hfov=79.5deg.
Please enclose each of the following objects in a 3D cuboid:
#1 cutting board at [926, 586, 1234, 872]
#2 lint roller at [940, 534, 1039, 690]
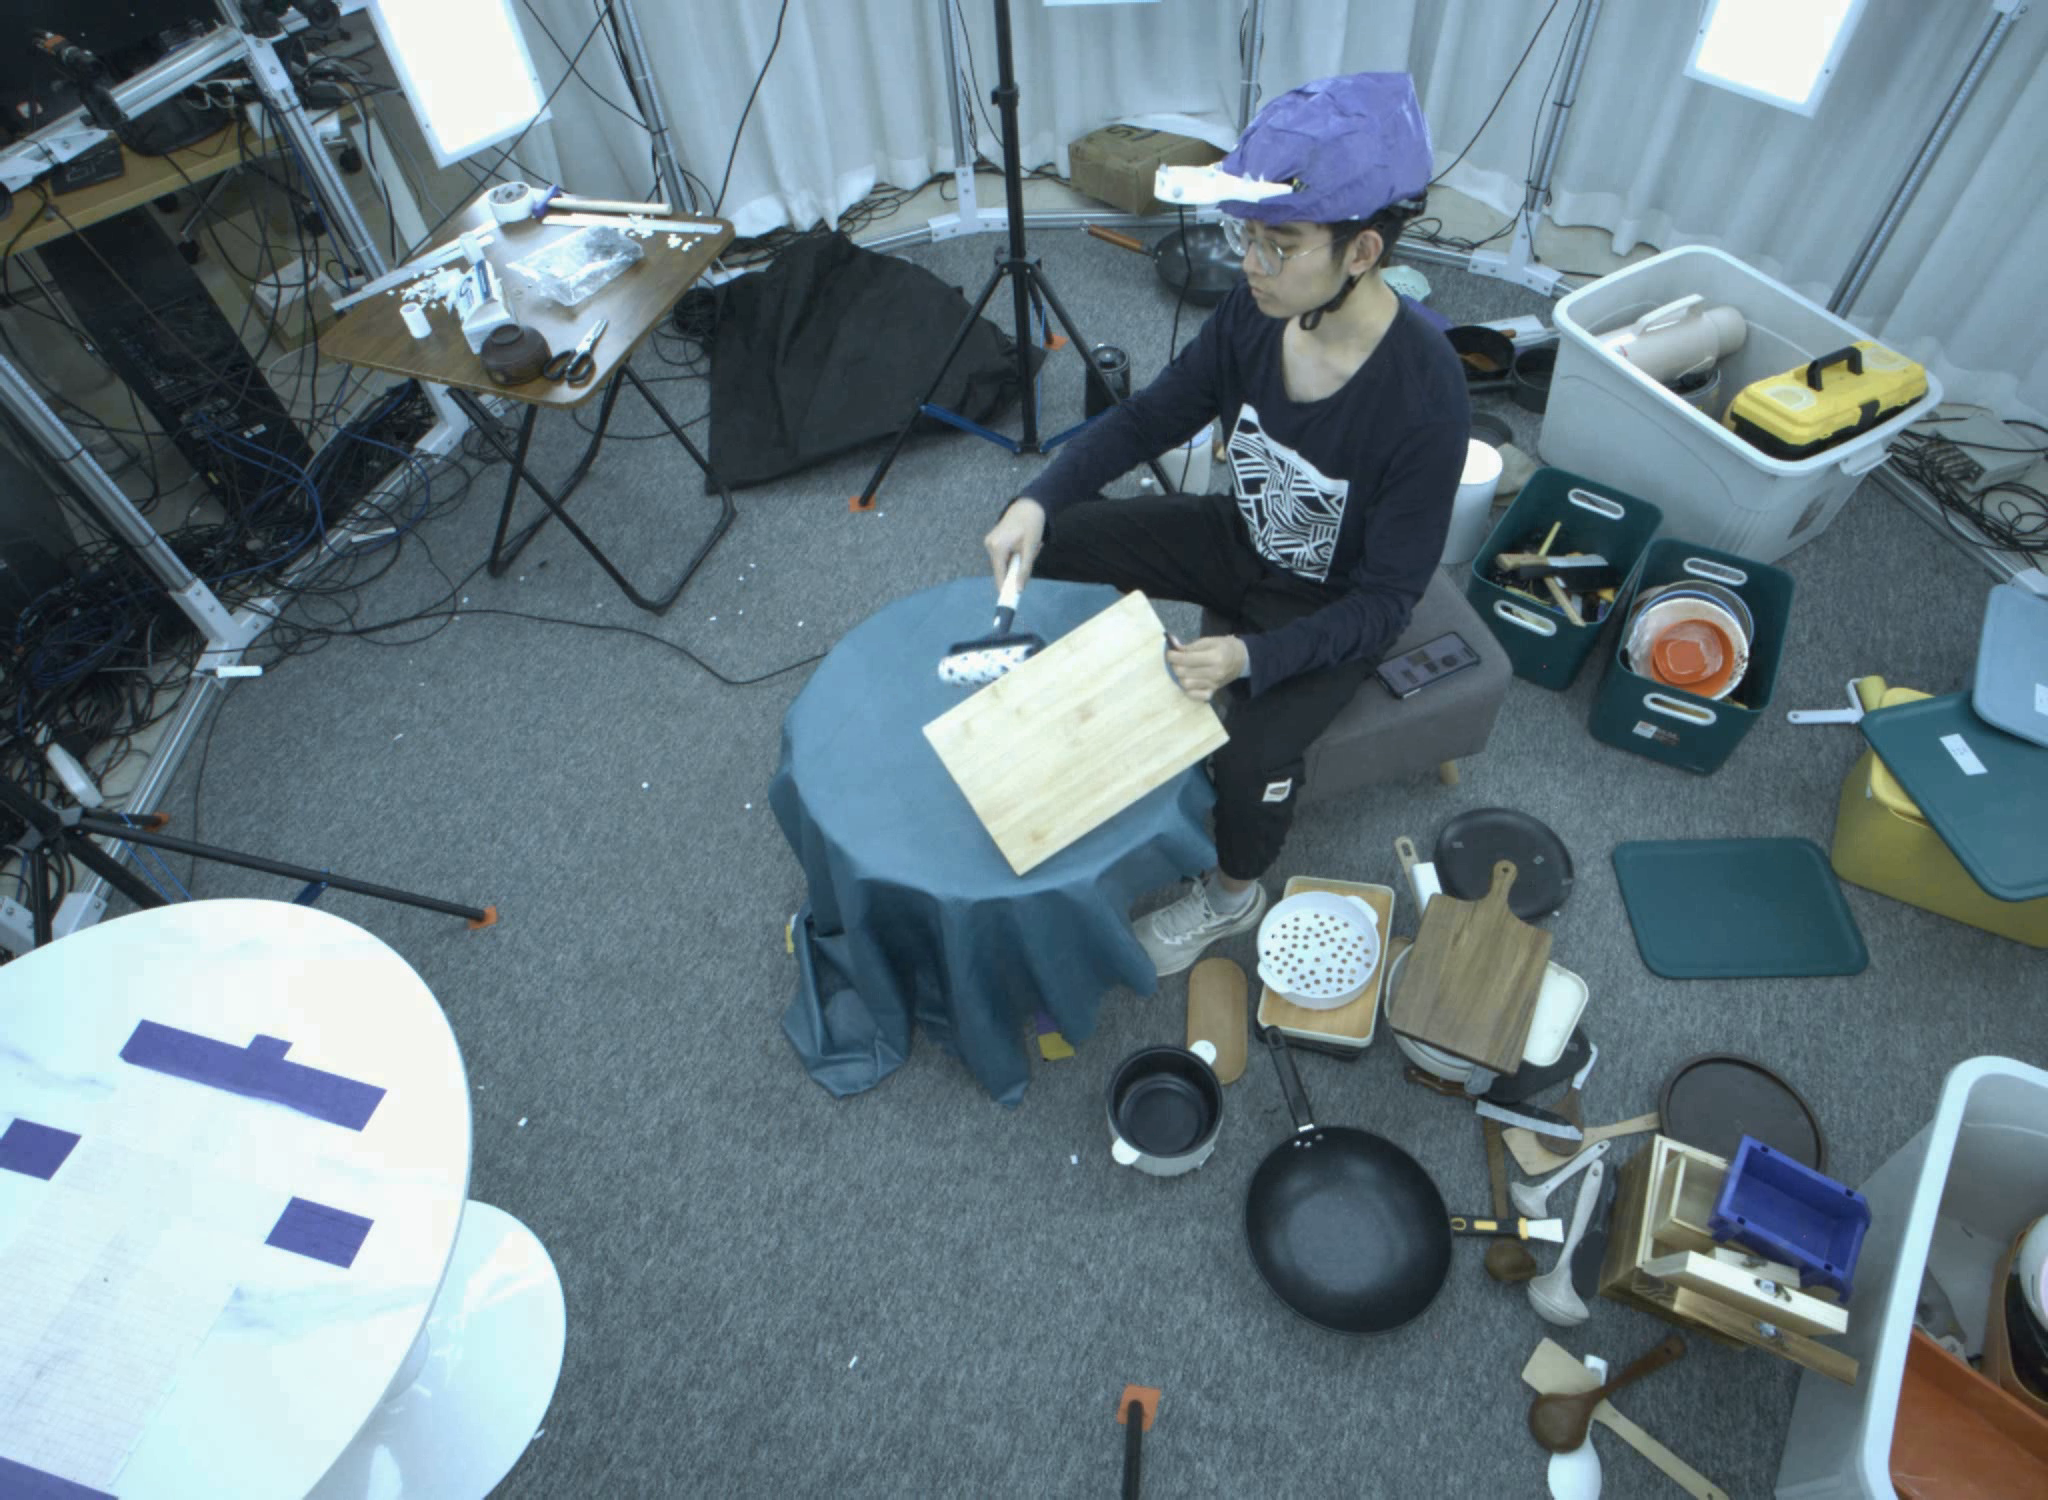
[{"bbox_3d":[0.076,-0.027,1.643,0.349,0.253,0.023,-34,16,-2],"label":"cutting board"},{"bbox_3d":[-0.027,-0.207,1.750,0.173,0.051,0.246,-9,58,48],"label":"lint roller"}]
